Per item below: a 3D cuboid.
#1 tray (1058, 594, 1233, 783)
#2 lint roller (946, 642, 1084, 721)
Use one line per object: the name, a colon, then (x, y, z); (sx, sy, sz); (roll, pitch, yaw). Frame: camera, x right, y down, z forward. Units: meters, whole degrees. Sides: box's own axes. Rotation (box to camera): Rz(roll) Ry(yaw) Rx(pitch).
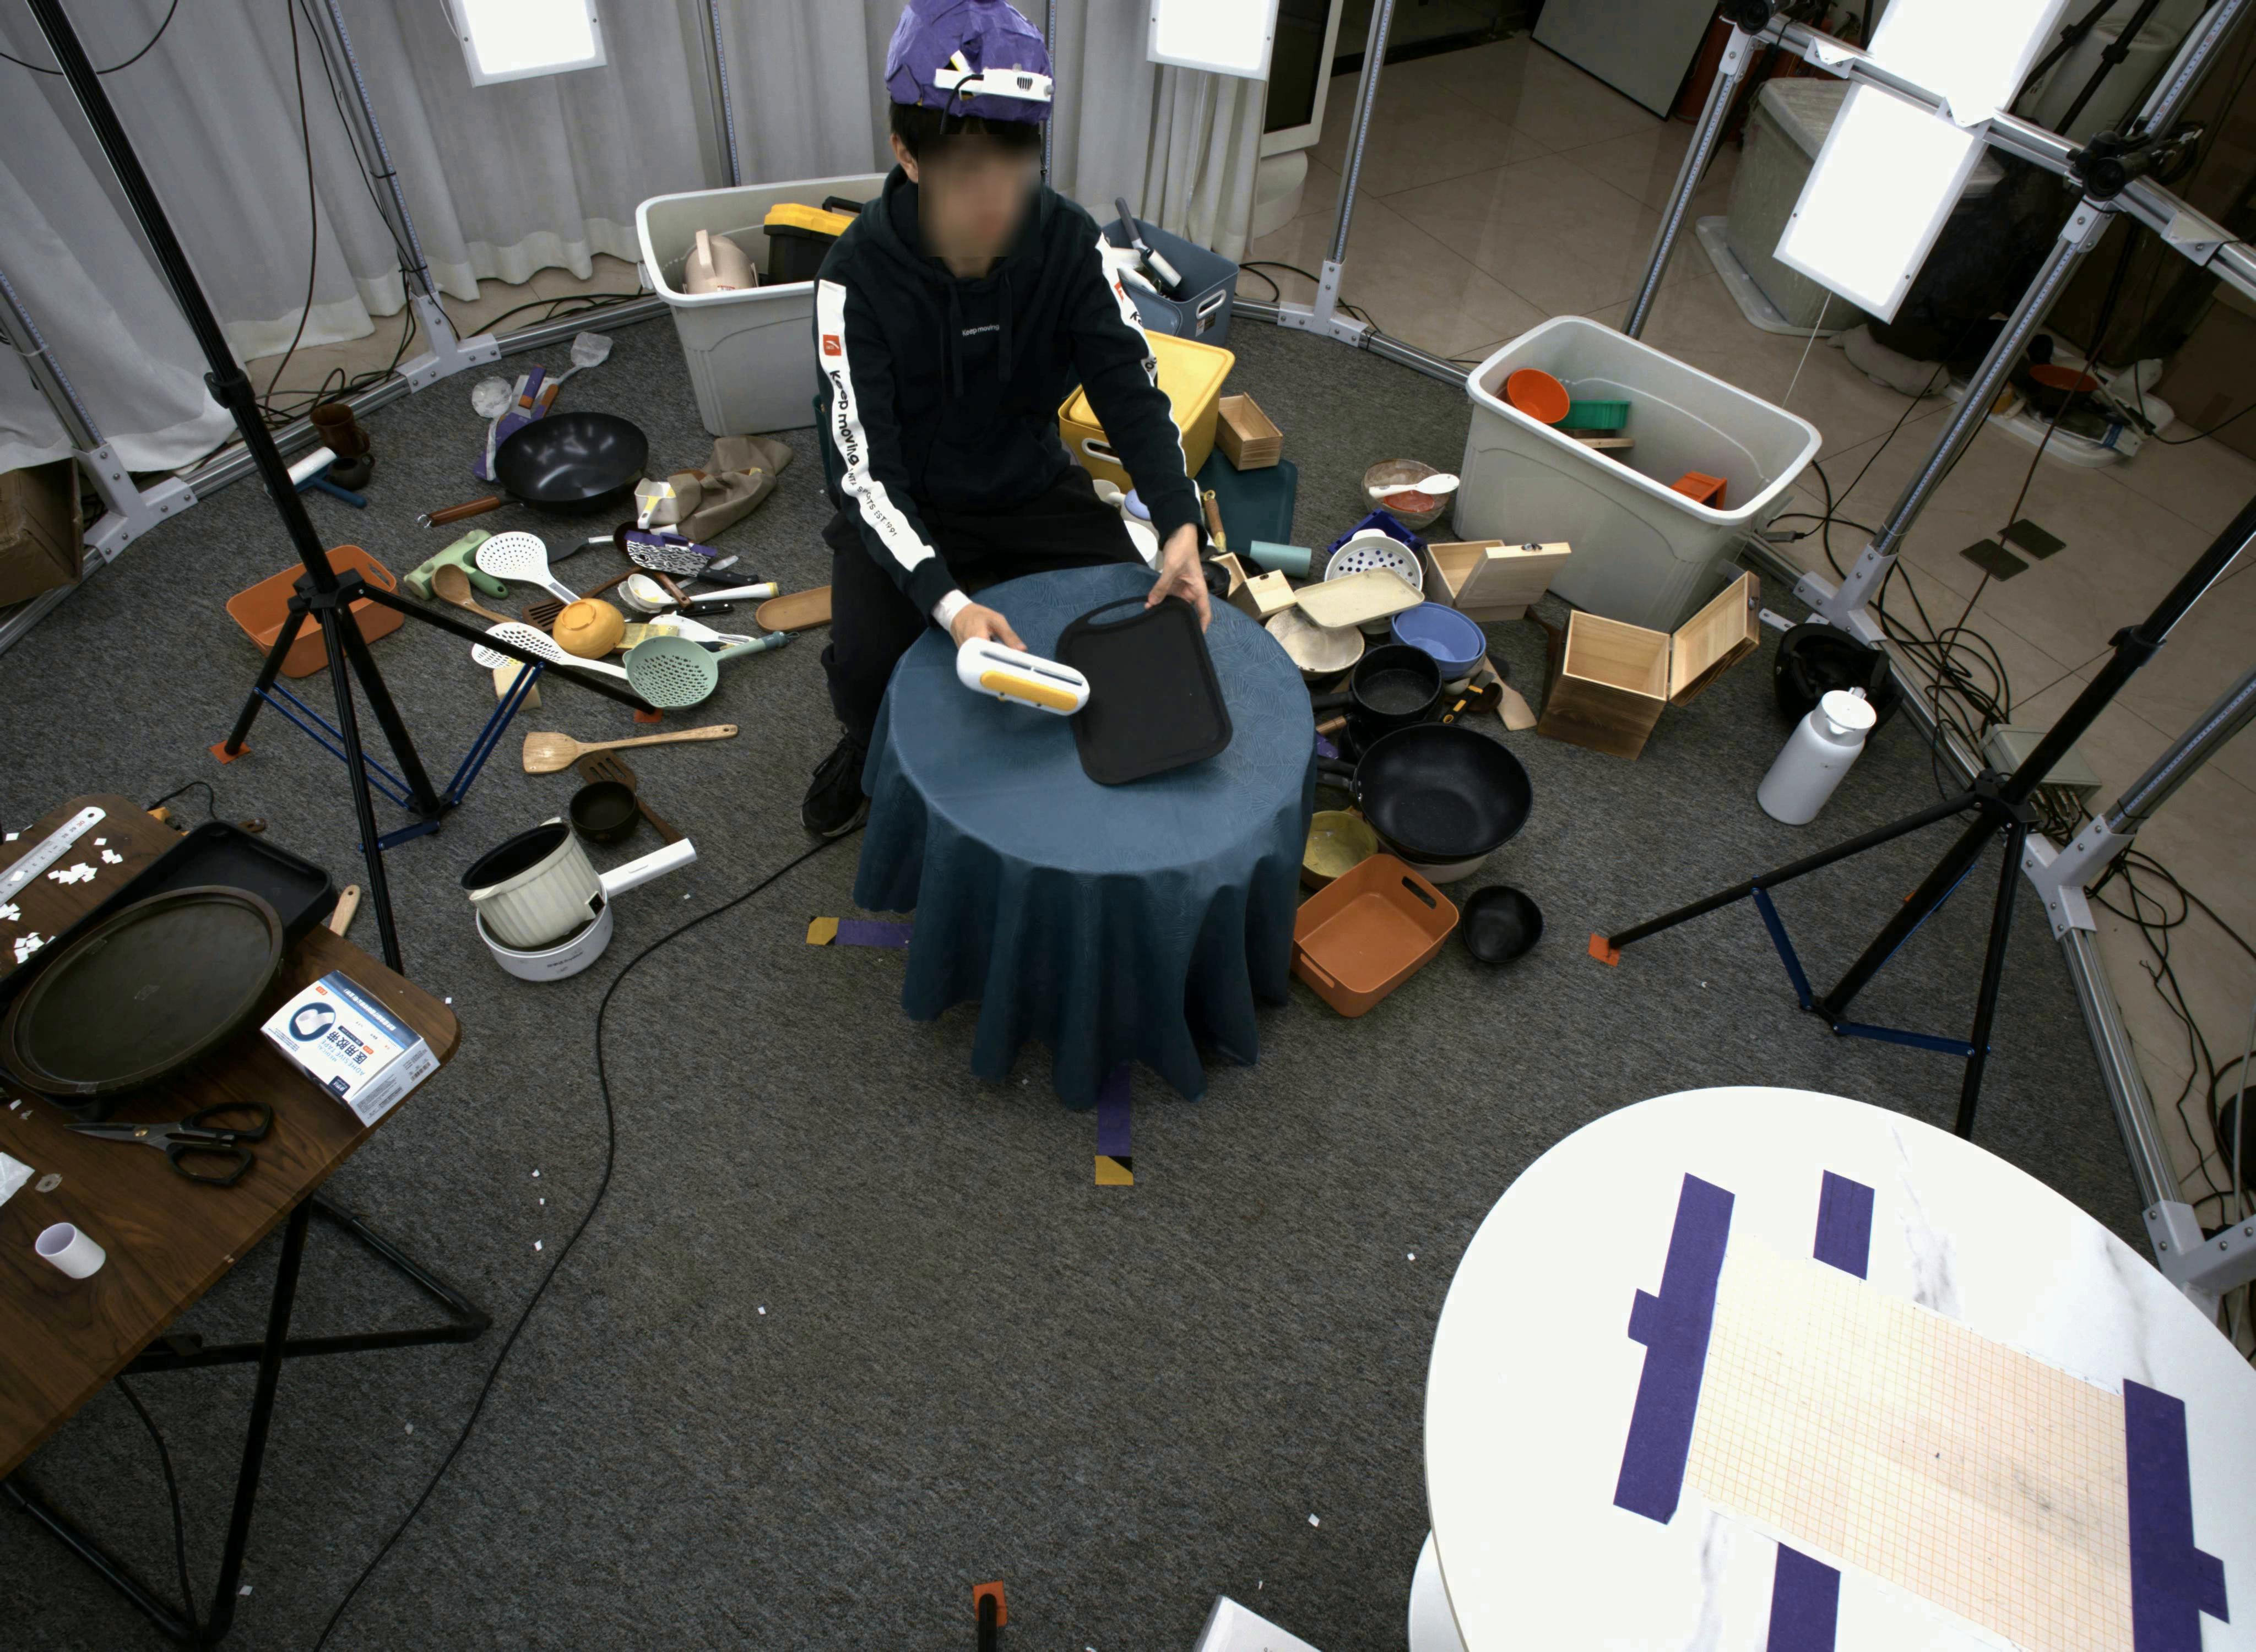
tray: (0.017, -0.204, 1.798); (0.211, 0.009, 0.333); (-16, 53, 4)
lint roller: (-0.171, -0.209, 1.774); (0.191, 0.073, 0.196); (12, 18, -24)
